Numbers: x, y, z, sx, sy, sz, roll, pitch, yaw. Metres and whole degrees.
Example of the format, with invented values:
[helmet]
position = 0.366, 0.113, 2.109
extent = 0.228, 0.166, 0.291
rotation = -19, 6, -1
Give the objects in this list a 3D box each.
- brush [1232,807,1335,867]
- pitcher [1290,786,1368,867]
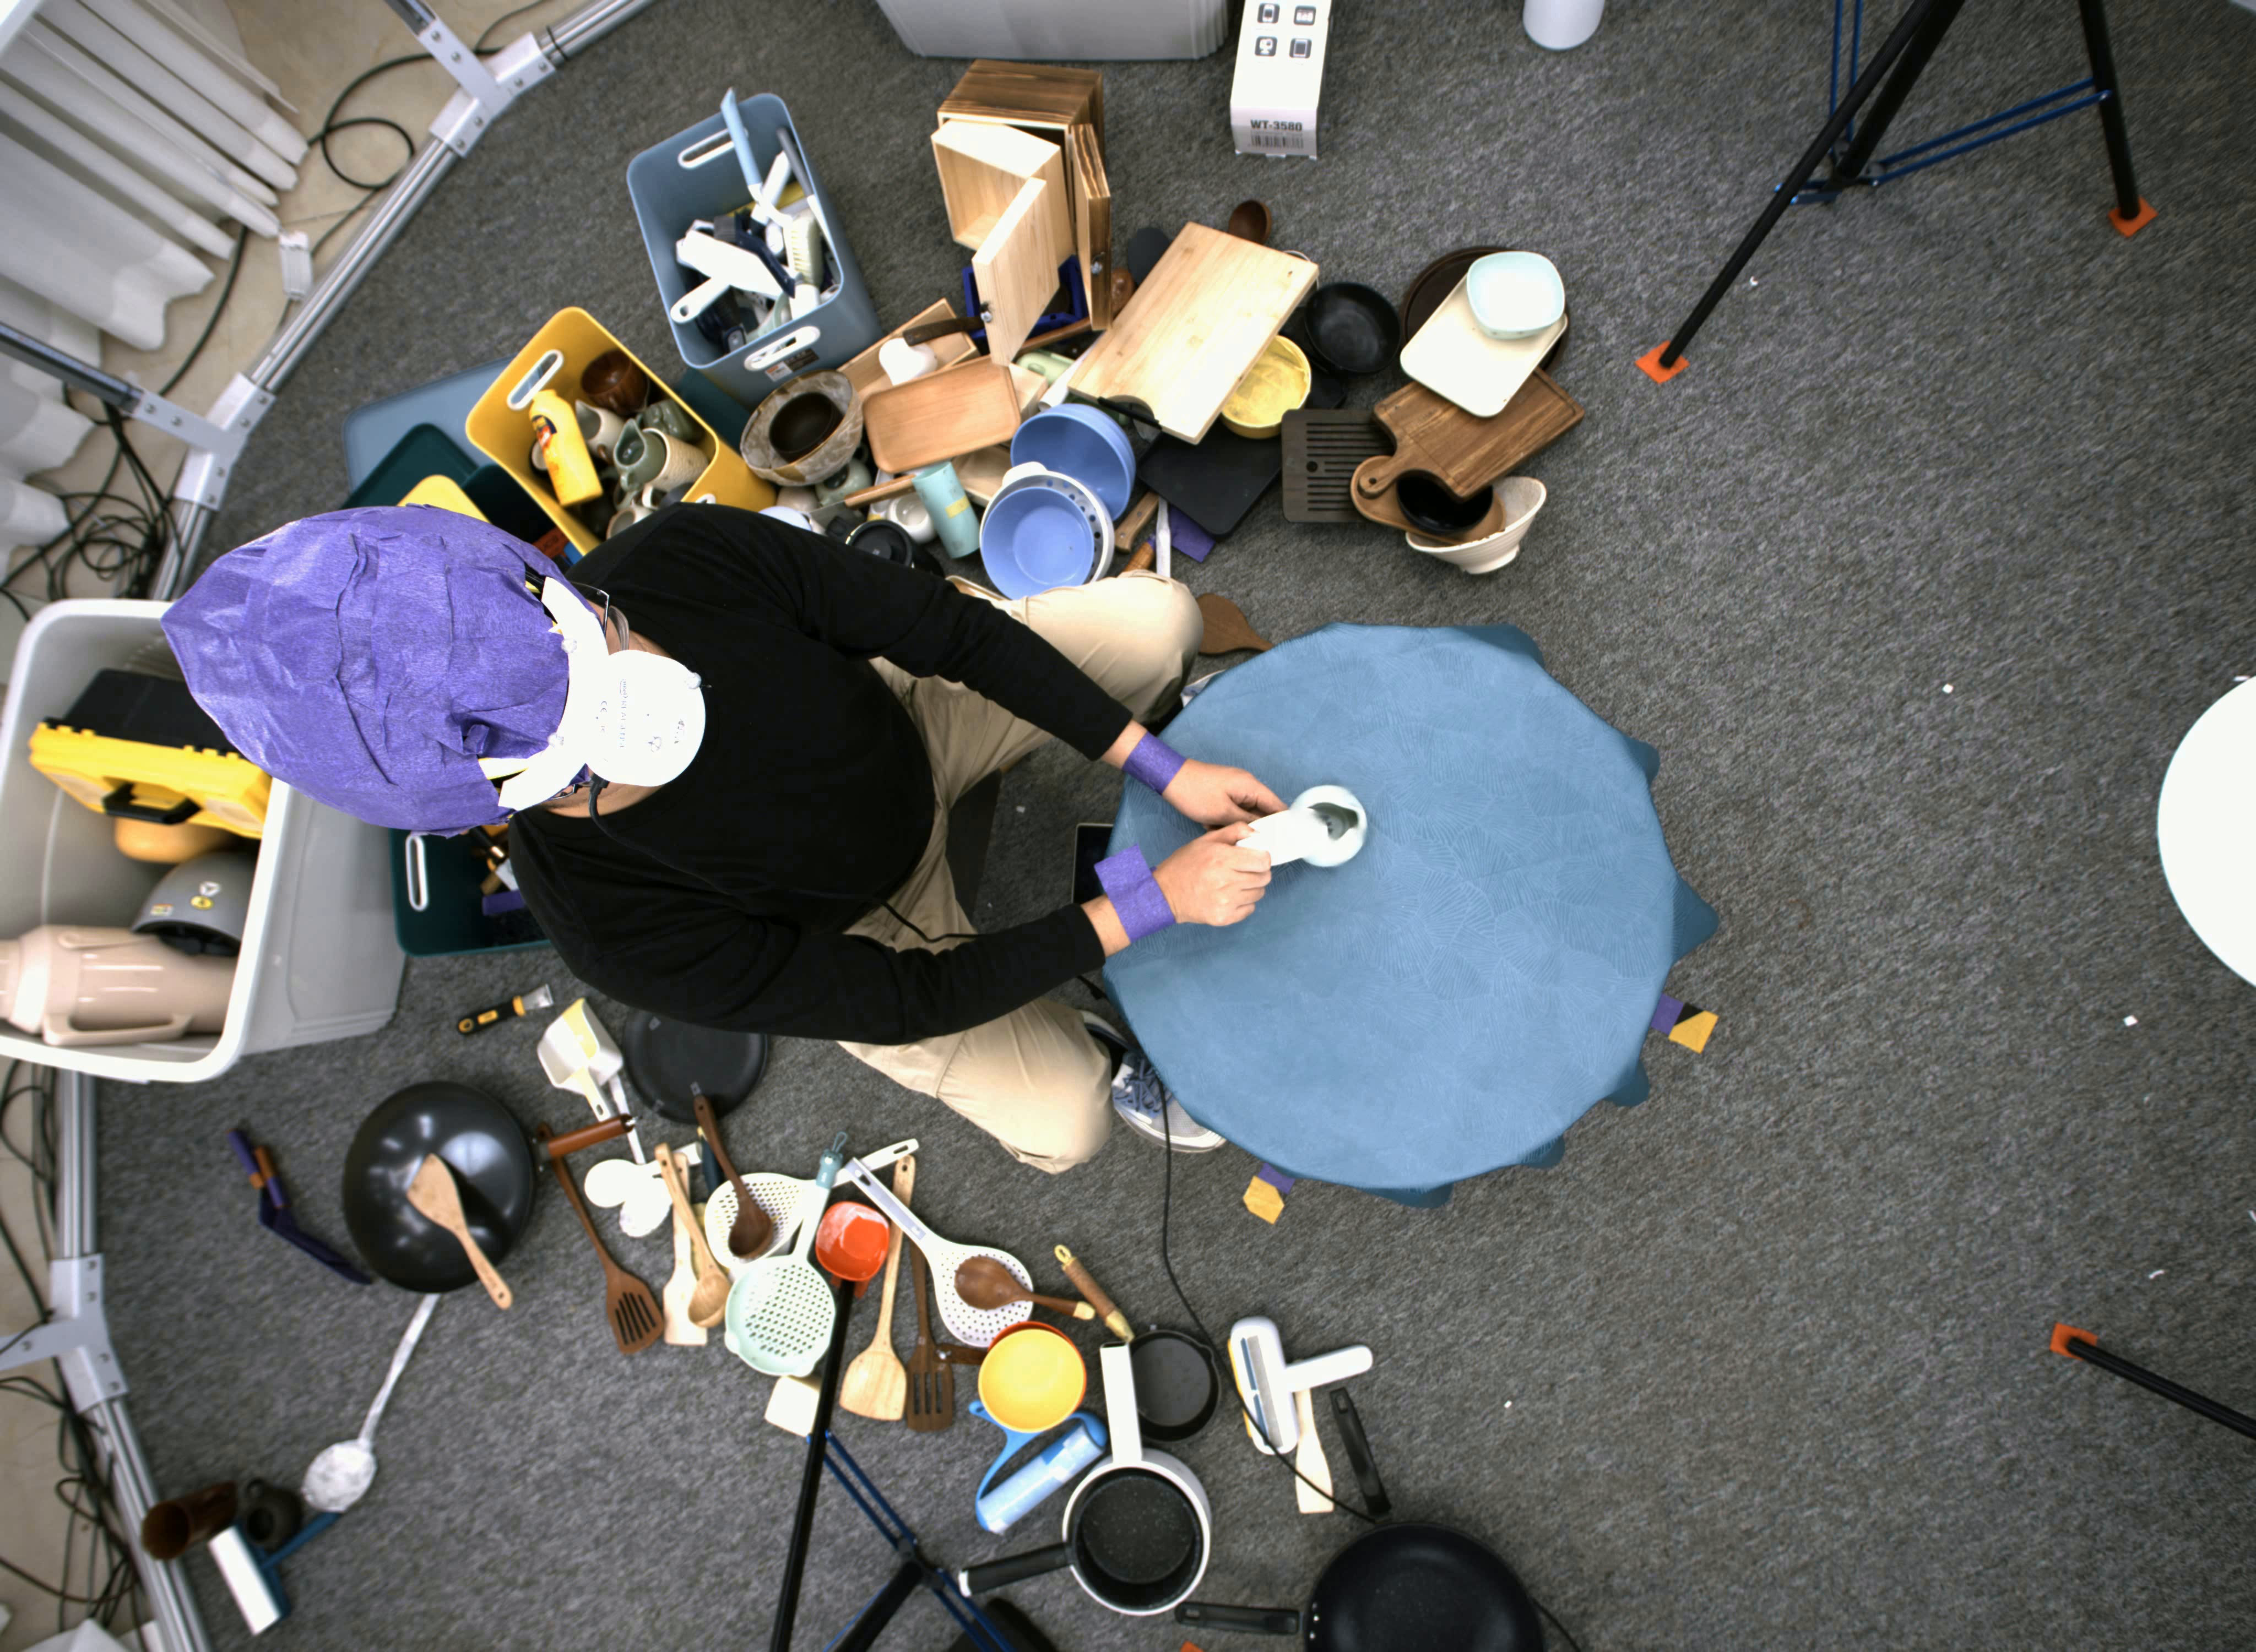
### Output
[brush]
position = 0.151, 0.012, 1.377
extent = 0.100, 0.072, 0.050
rotation = -16, 88, 21
[pitcher]
position = 0.197, 0.002, 1.449
extent = 0.109, 0.060, 0.085
rotation = -15, 83, 12
